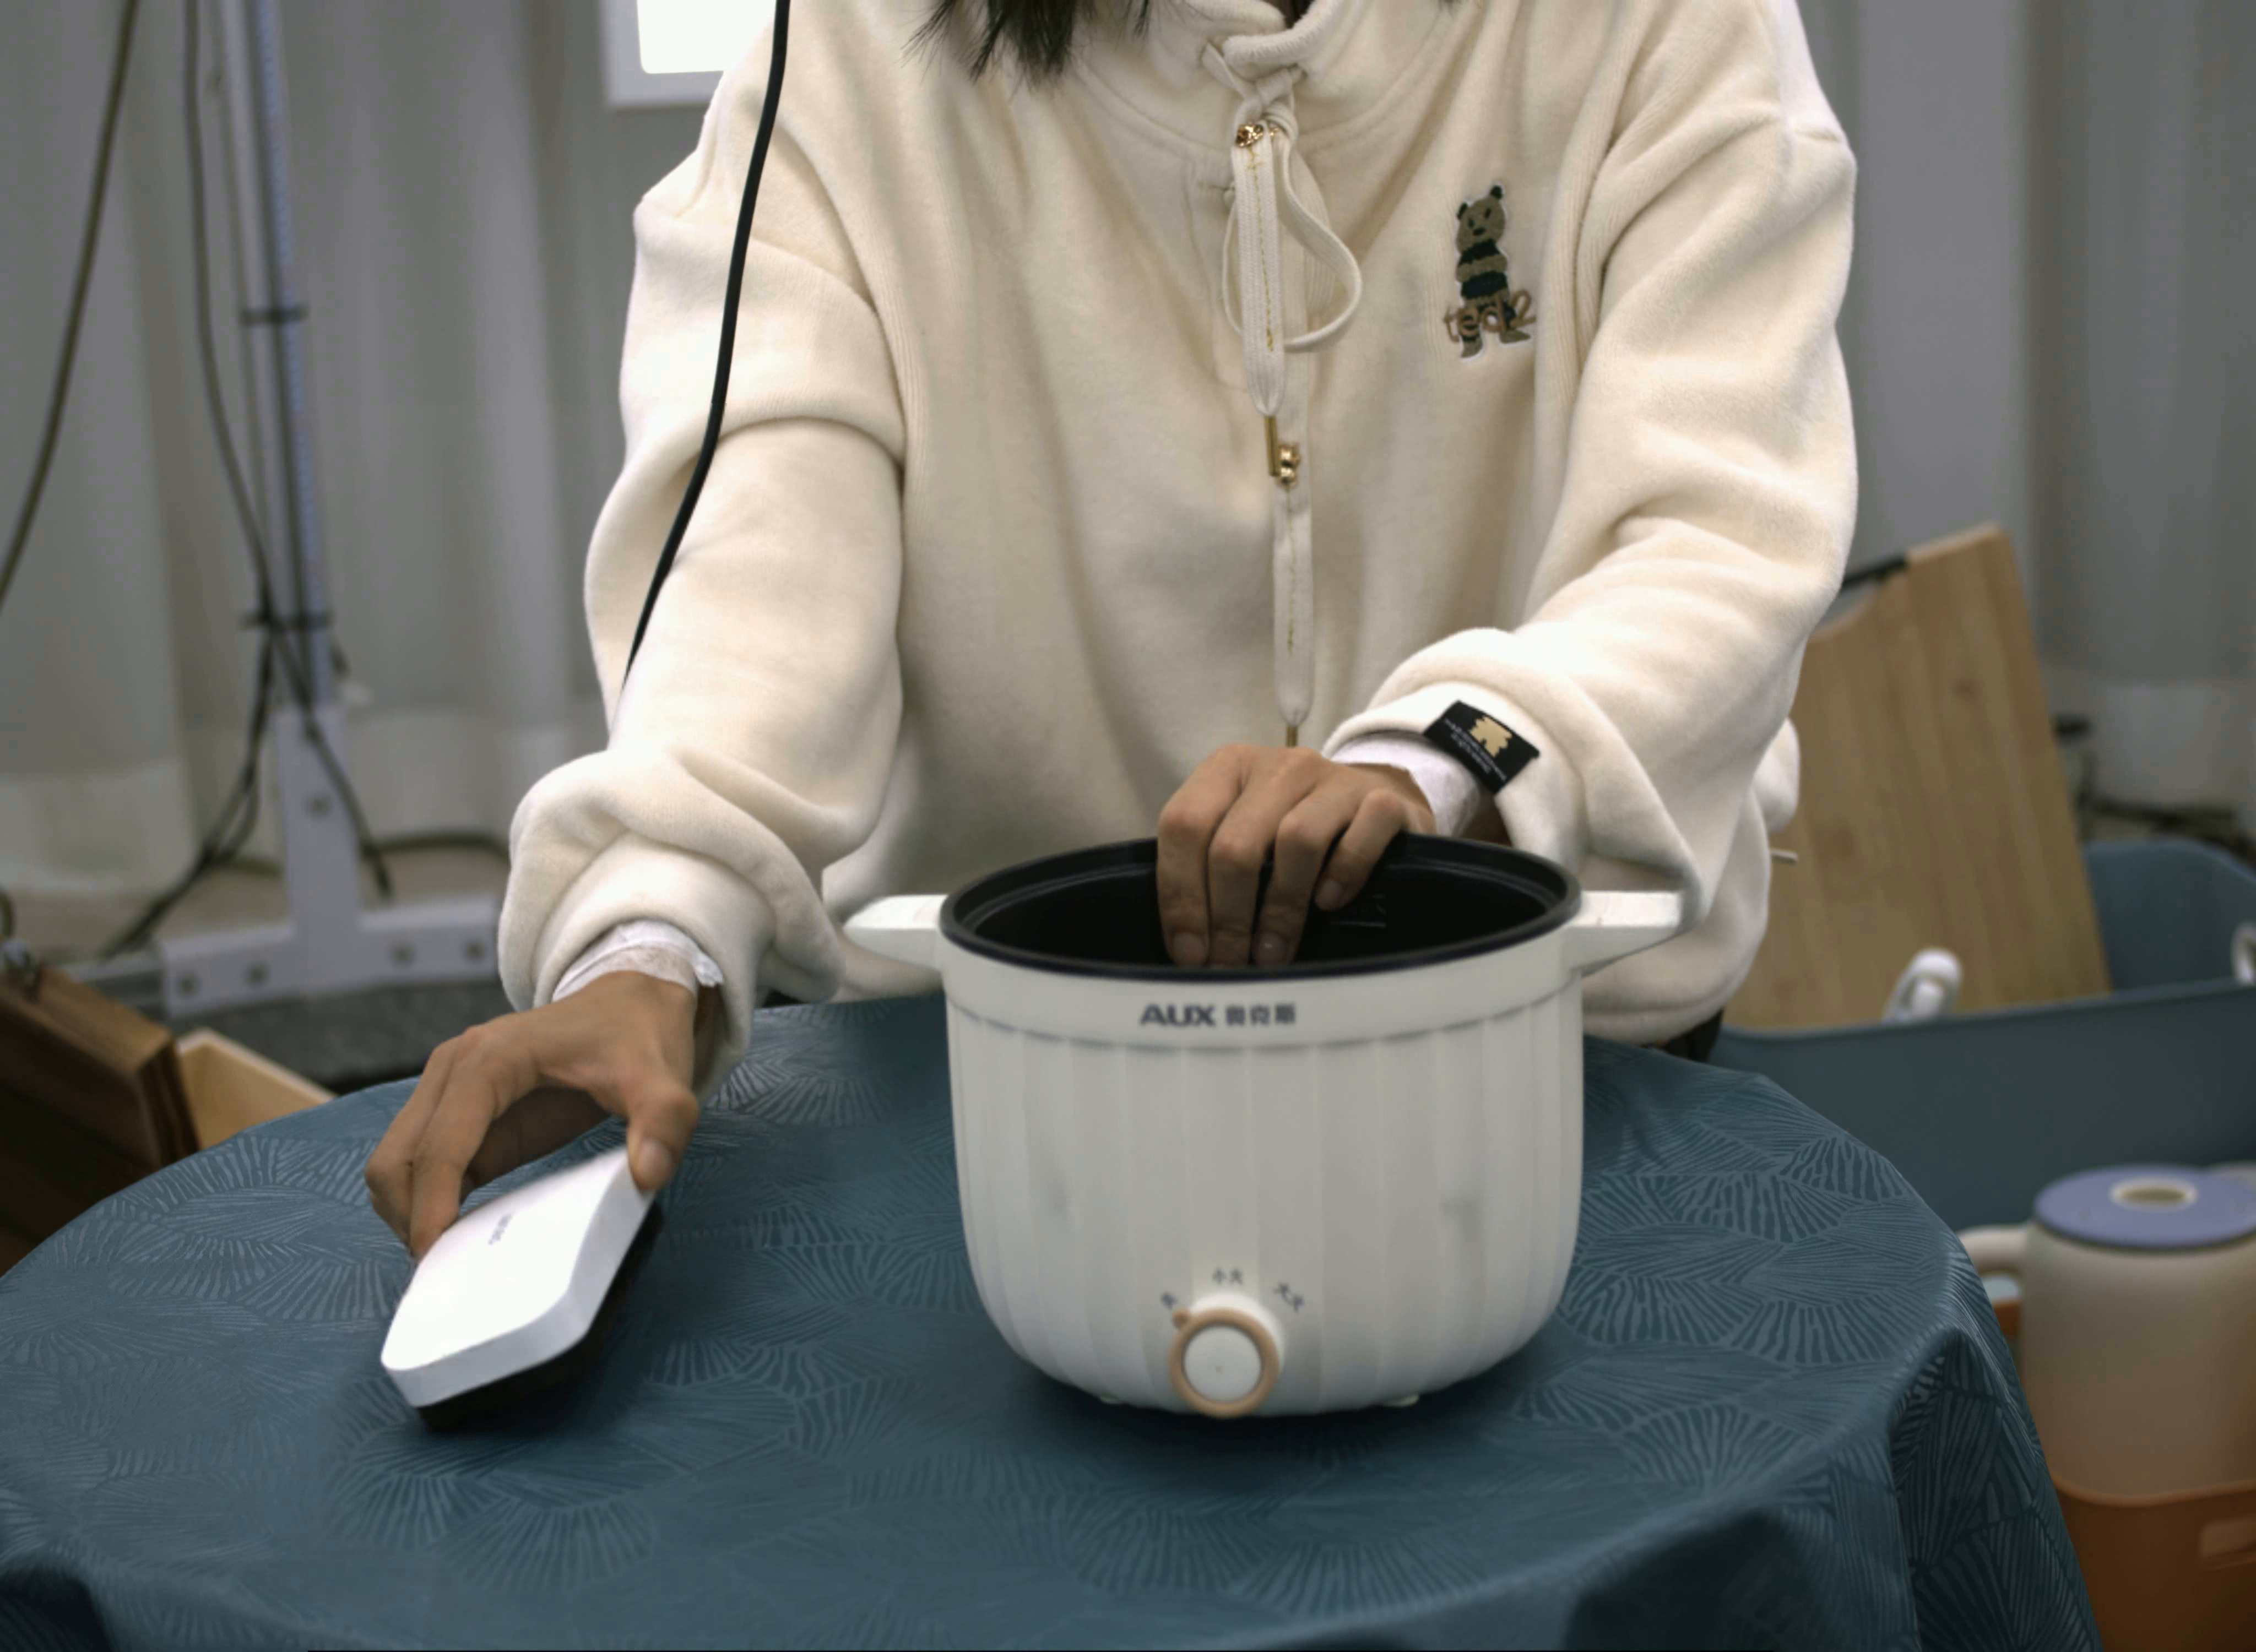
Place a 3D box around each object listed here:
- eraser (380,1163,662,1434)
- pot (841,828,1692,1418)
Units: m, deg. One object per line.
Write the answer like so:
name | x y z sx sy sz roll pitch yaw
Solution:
eraser | -0.173 0.133 1.585 0.063 0.034 0.132 -17 15 12
pot | 0.040 0.085 1.538 0.240 0.142 0.191 -2 9 9
